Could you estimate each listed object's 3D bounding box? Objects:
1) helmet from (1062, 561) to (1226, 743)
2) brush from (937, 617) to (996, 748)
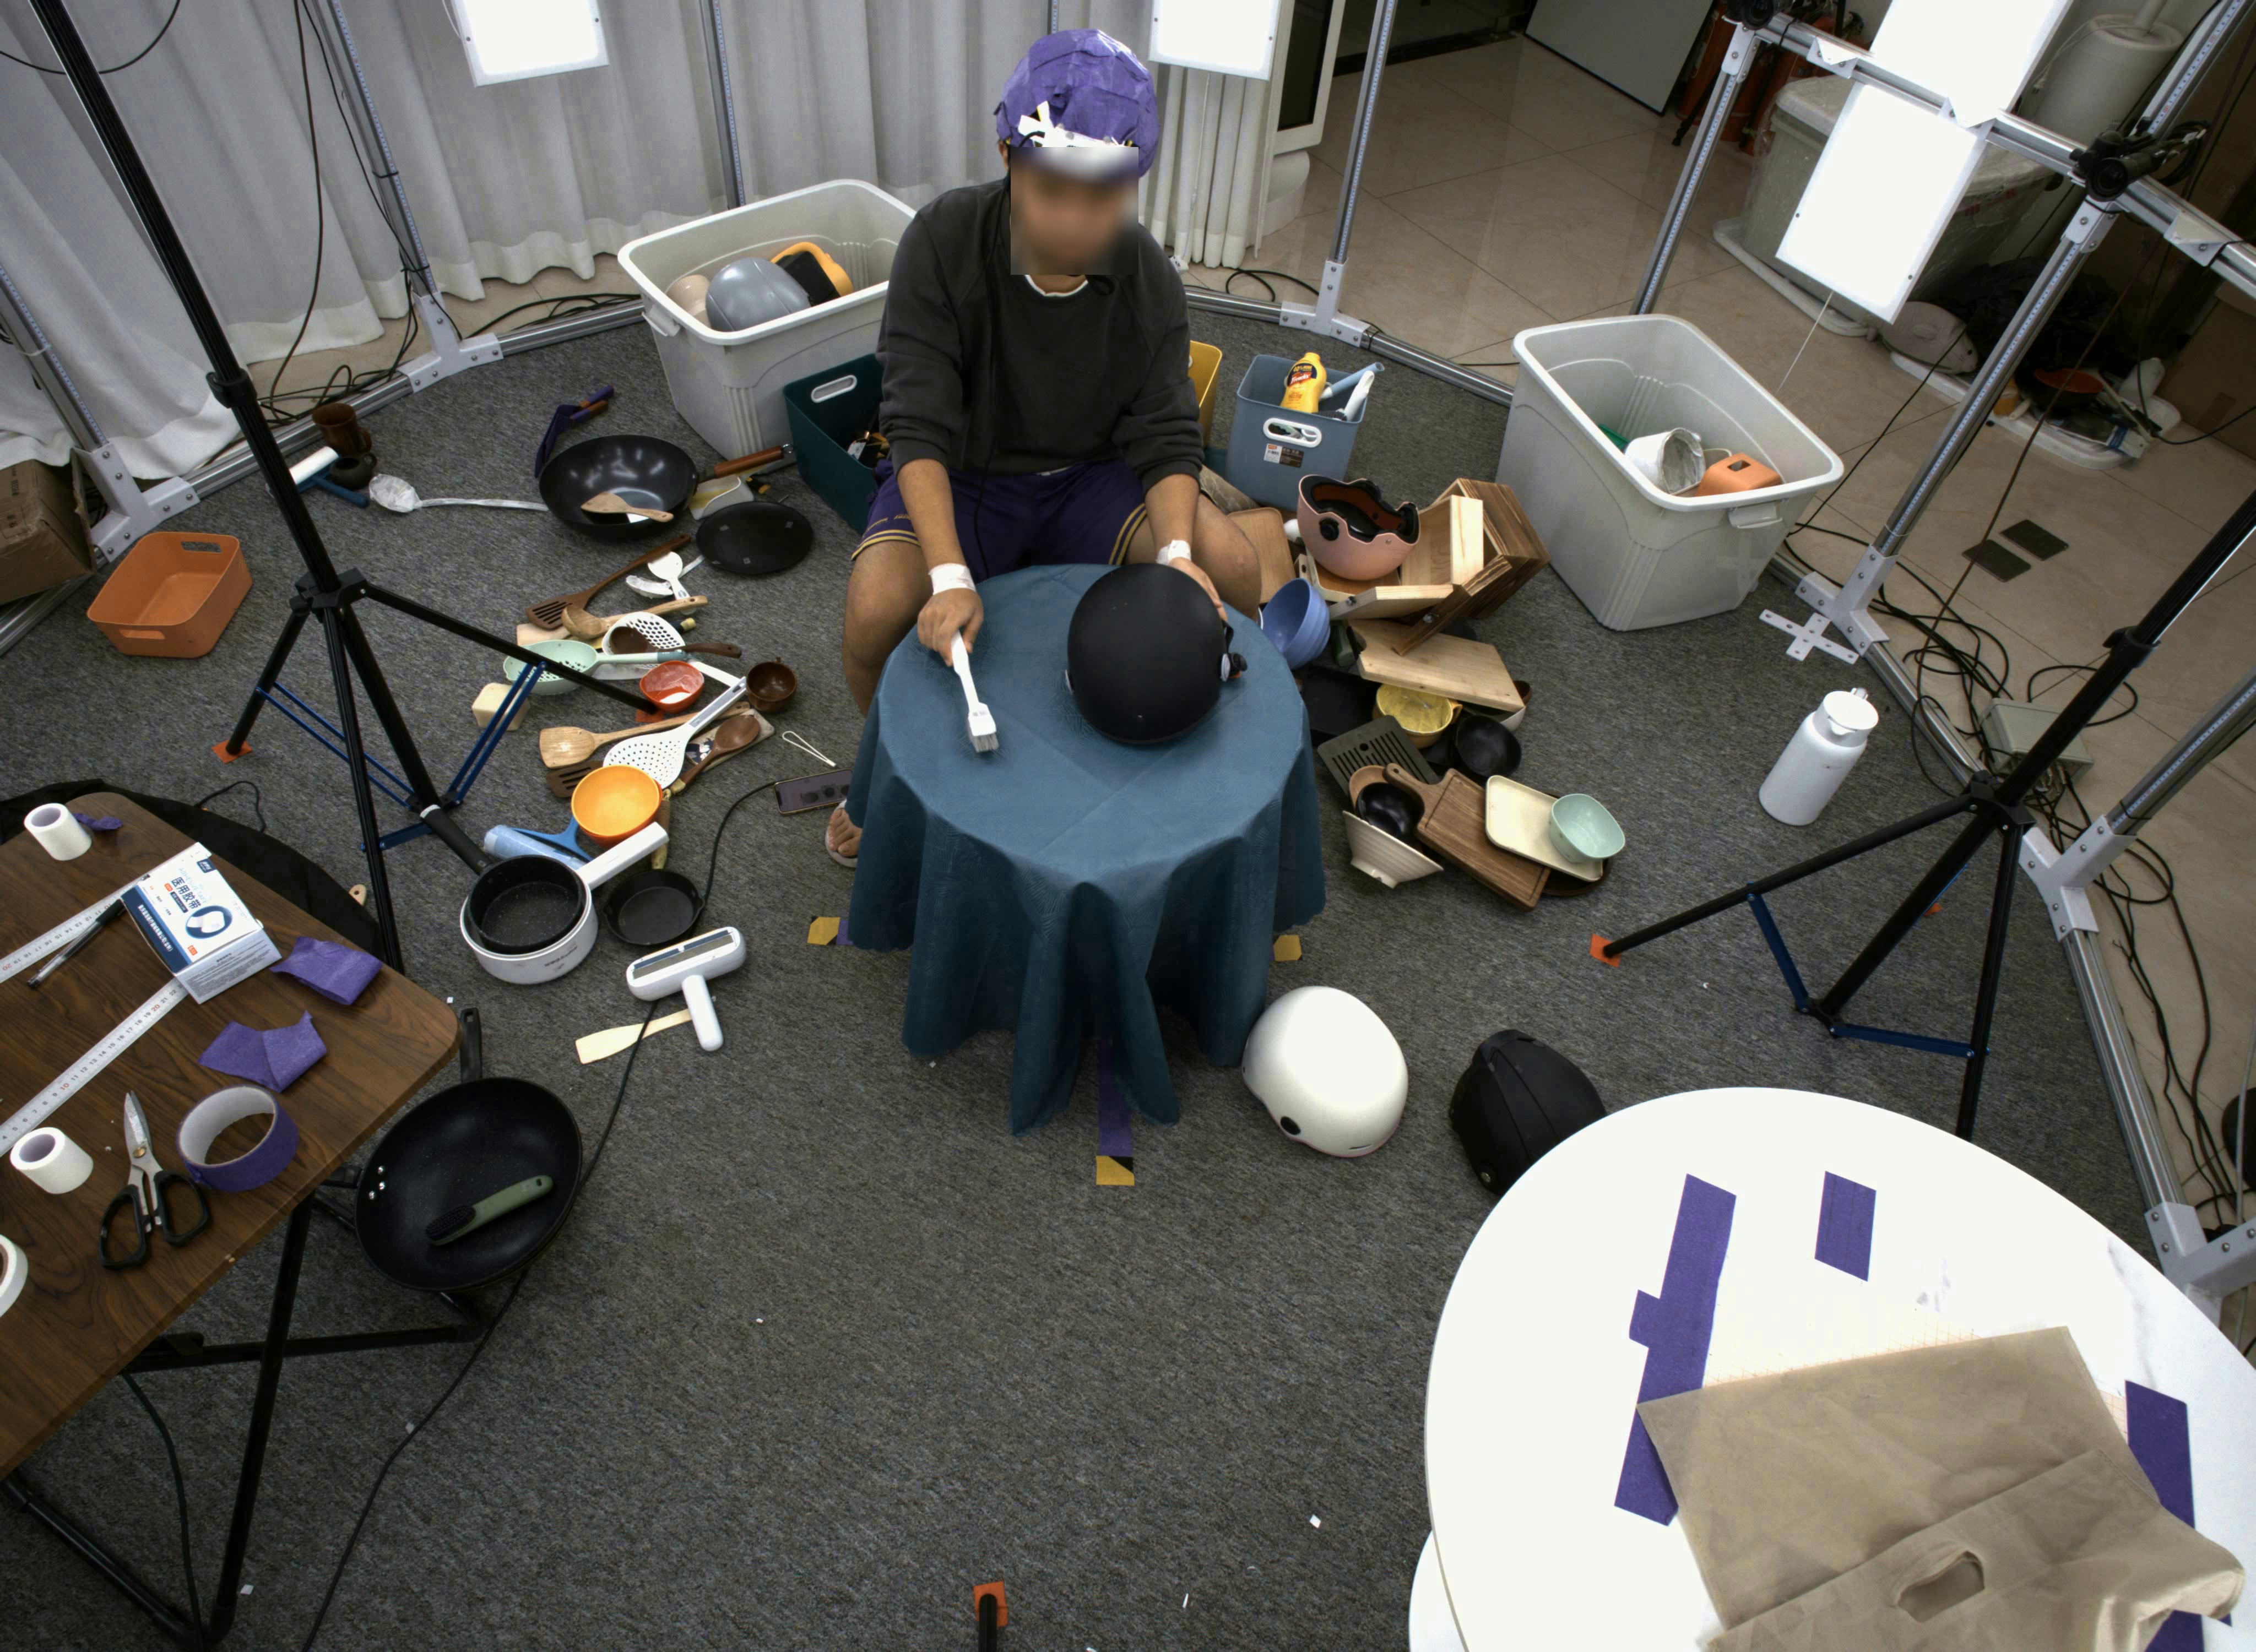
[{"bbox_3d":[0.018,-0.263,1.782,0.230,0.162,0.280,-4,49,12],"label":"helmet"},{"bbox_3d":[-0.226,-0.199,1.784,0.034,0.049,0.249,-14,49,-11],"label":"brush"}]
